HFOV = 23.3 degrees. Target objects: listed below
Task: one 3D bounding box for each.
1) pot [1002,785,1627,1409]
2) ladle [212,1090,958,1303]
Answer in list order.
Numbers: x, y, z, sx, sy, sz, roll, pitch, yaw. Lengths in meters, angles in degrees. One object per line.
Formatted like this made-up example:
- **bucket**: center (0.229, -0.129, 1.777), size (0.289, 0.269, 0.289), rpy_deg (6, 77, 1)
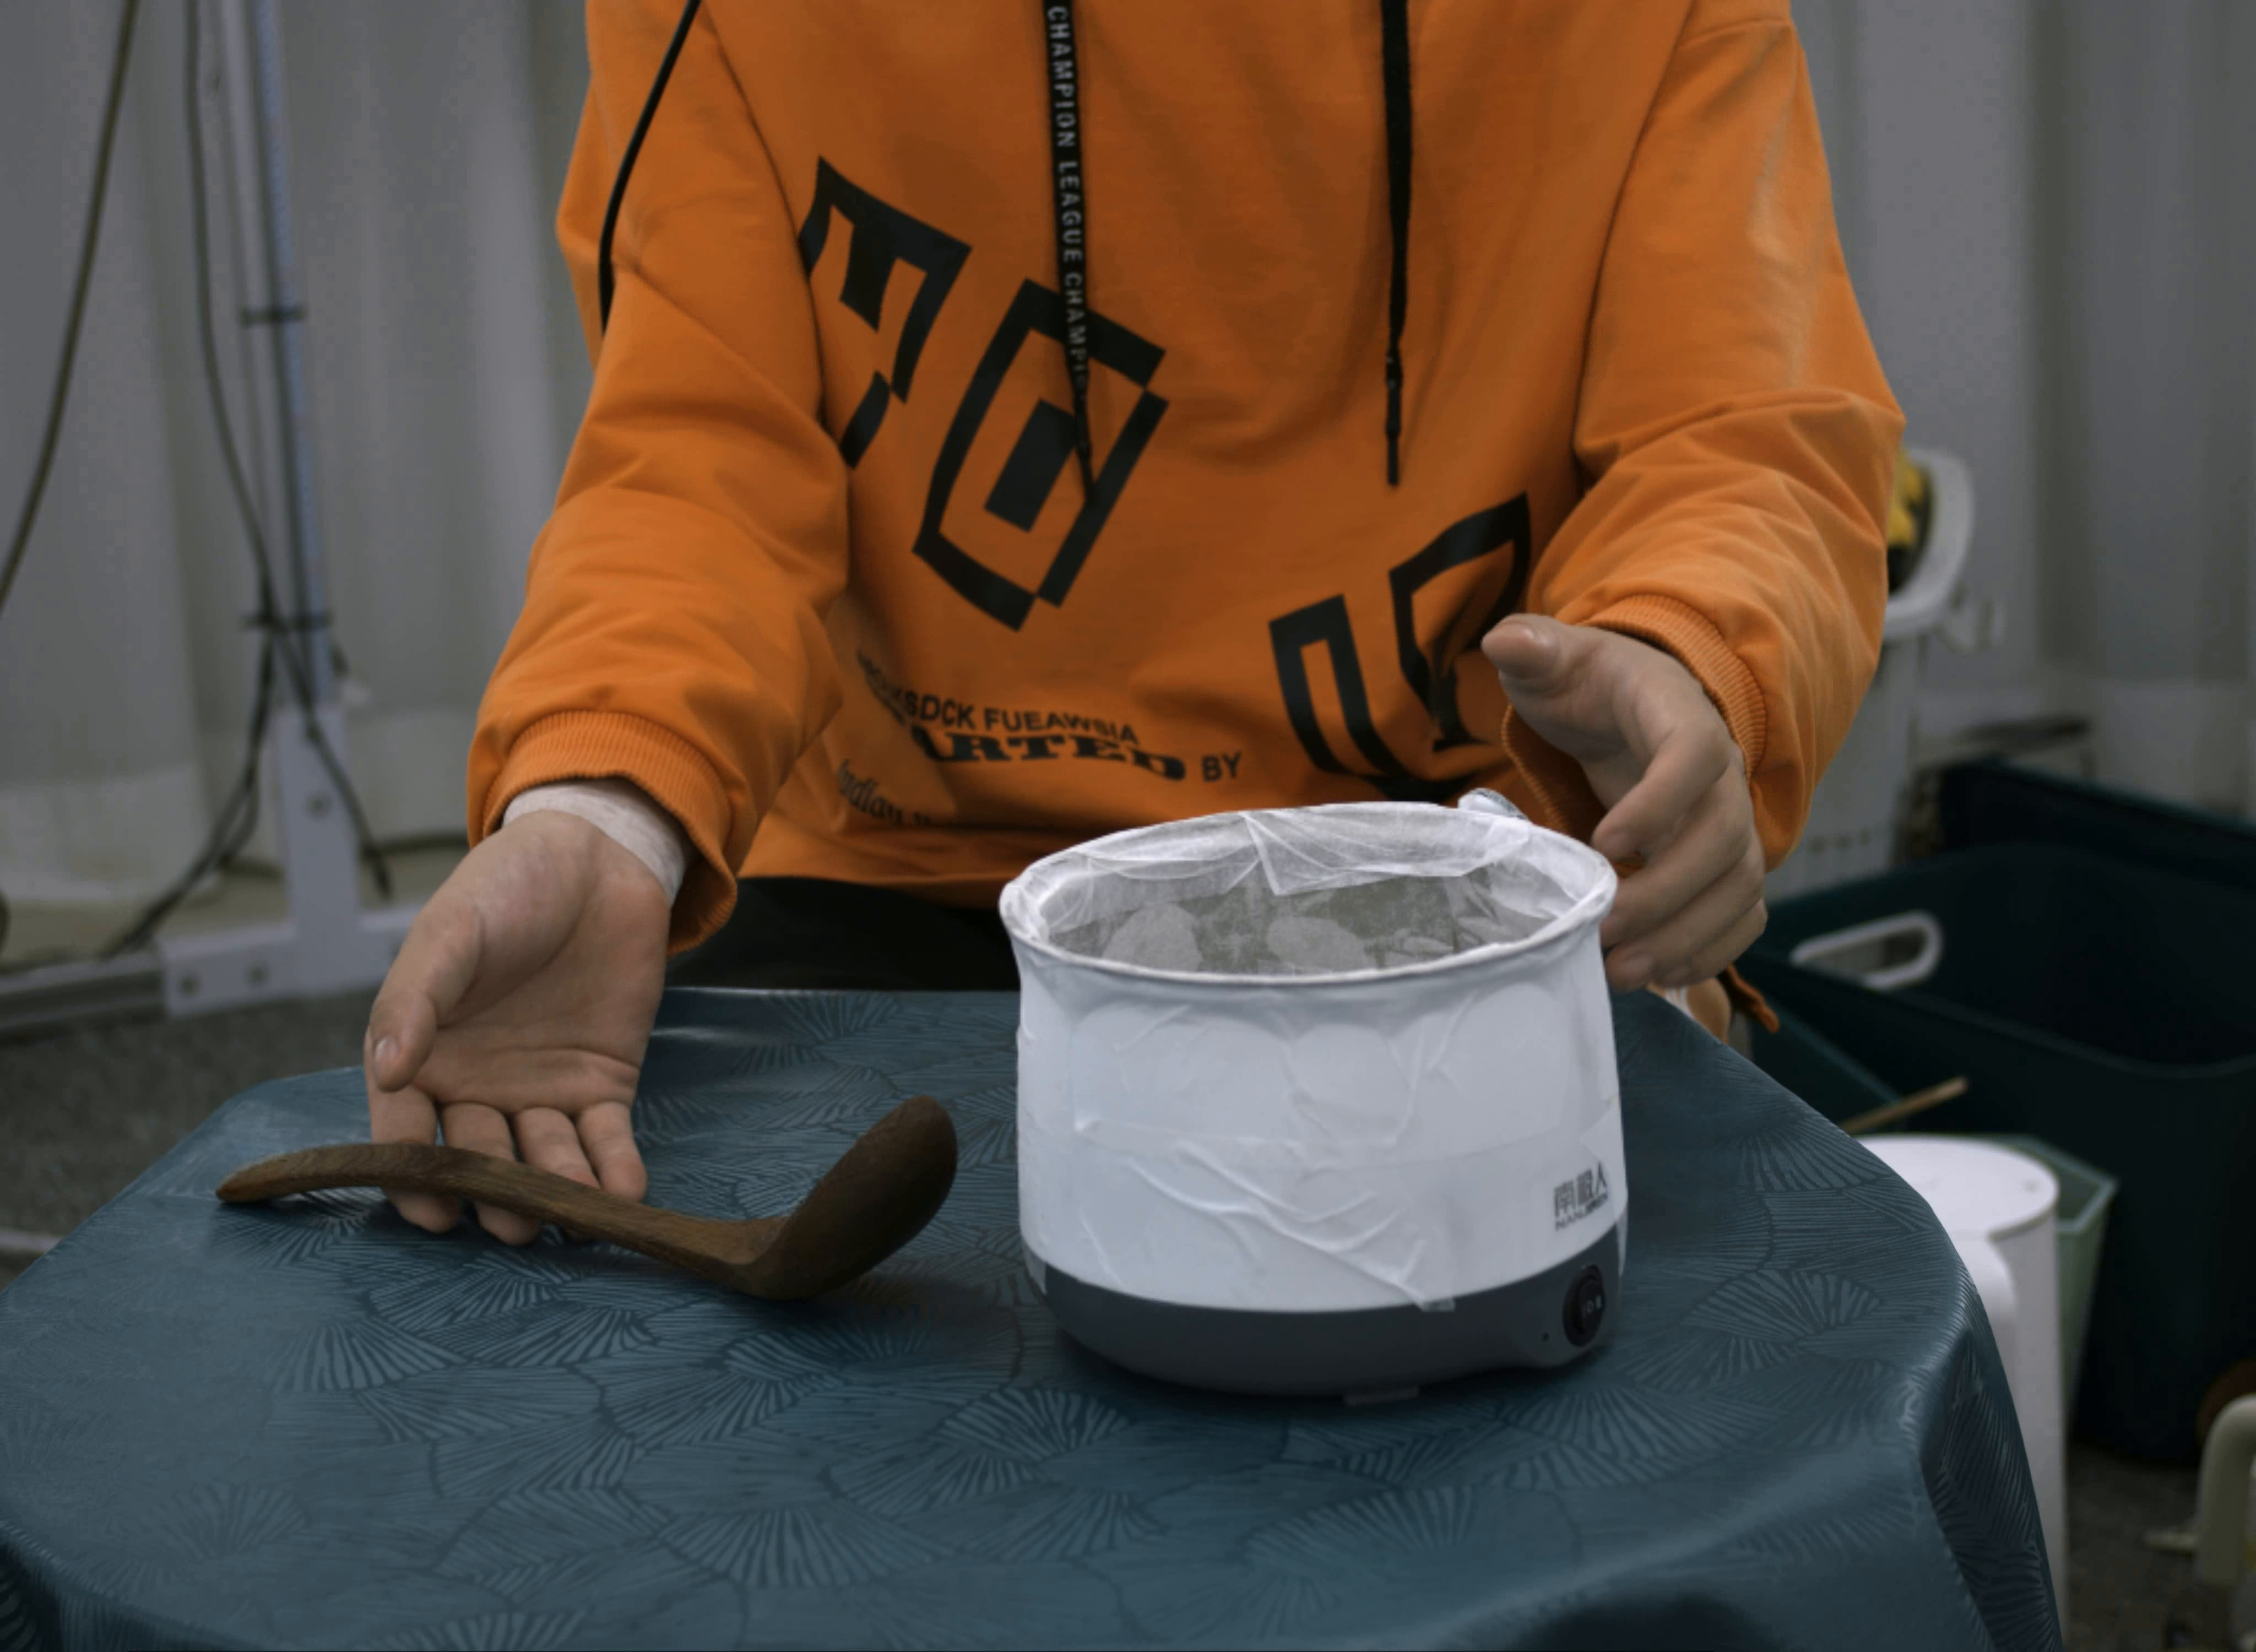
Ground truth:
- **pot**: center (0.069, 0.072, 1.598), size (0.179, 0.136, 0.234), rpy_deg (7, 18, 32)
- **ladle**: center (-0.173, 0.099, 1.675), size (0.275, 0.071, 0.076), rpy_deg (8, 17, 32)
